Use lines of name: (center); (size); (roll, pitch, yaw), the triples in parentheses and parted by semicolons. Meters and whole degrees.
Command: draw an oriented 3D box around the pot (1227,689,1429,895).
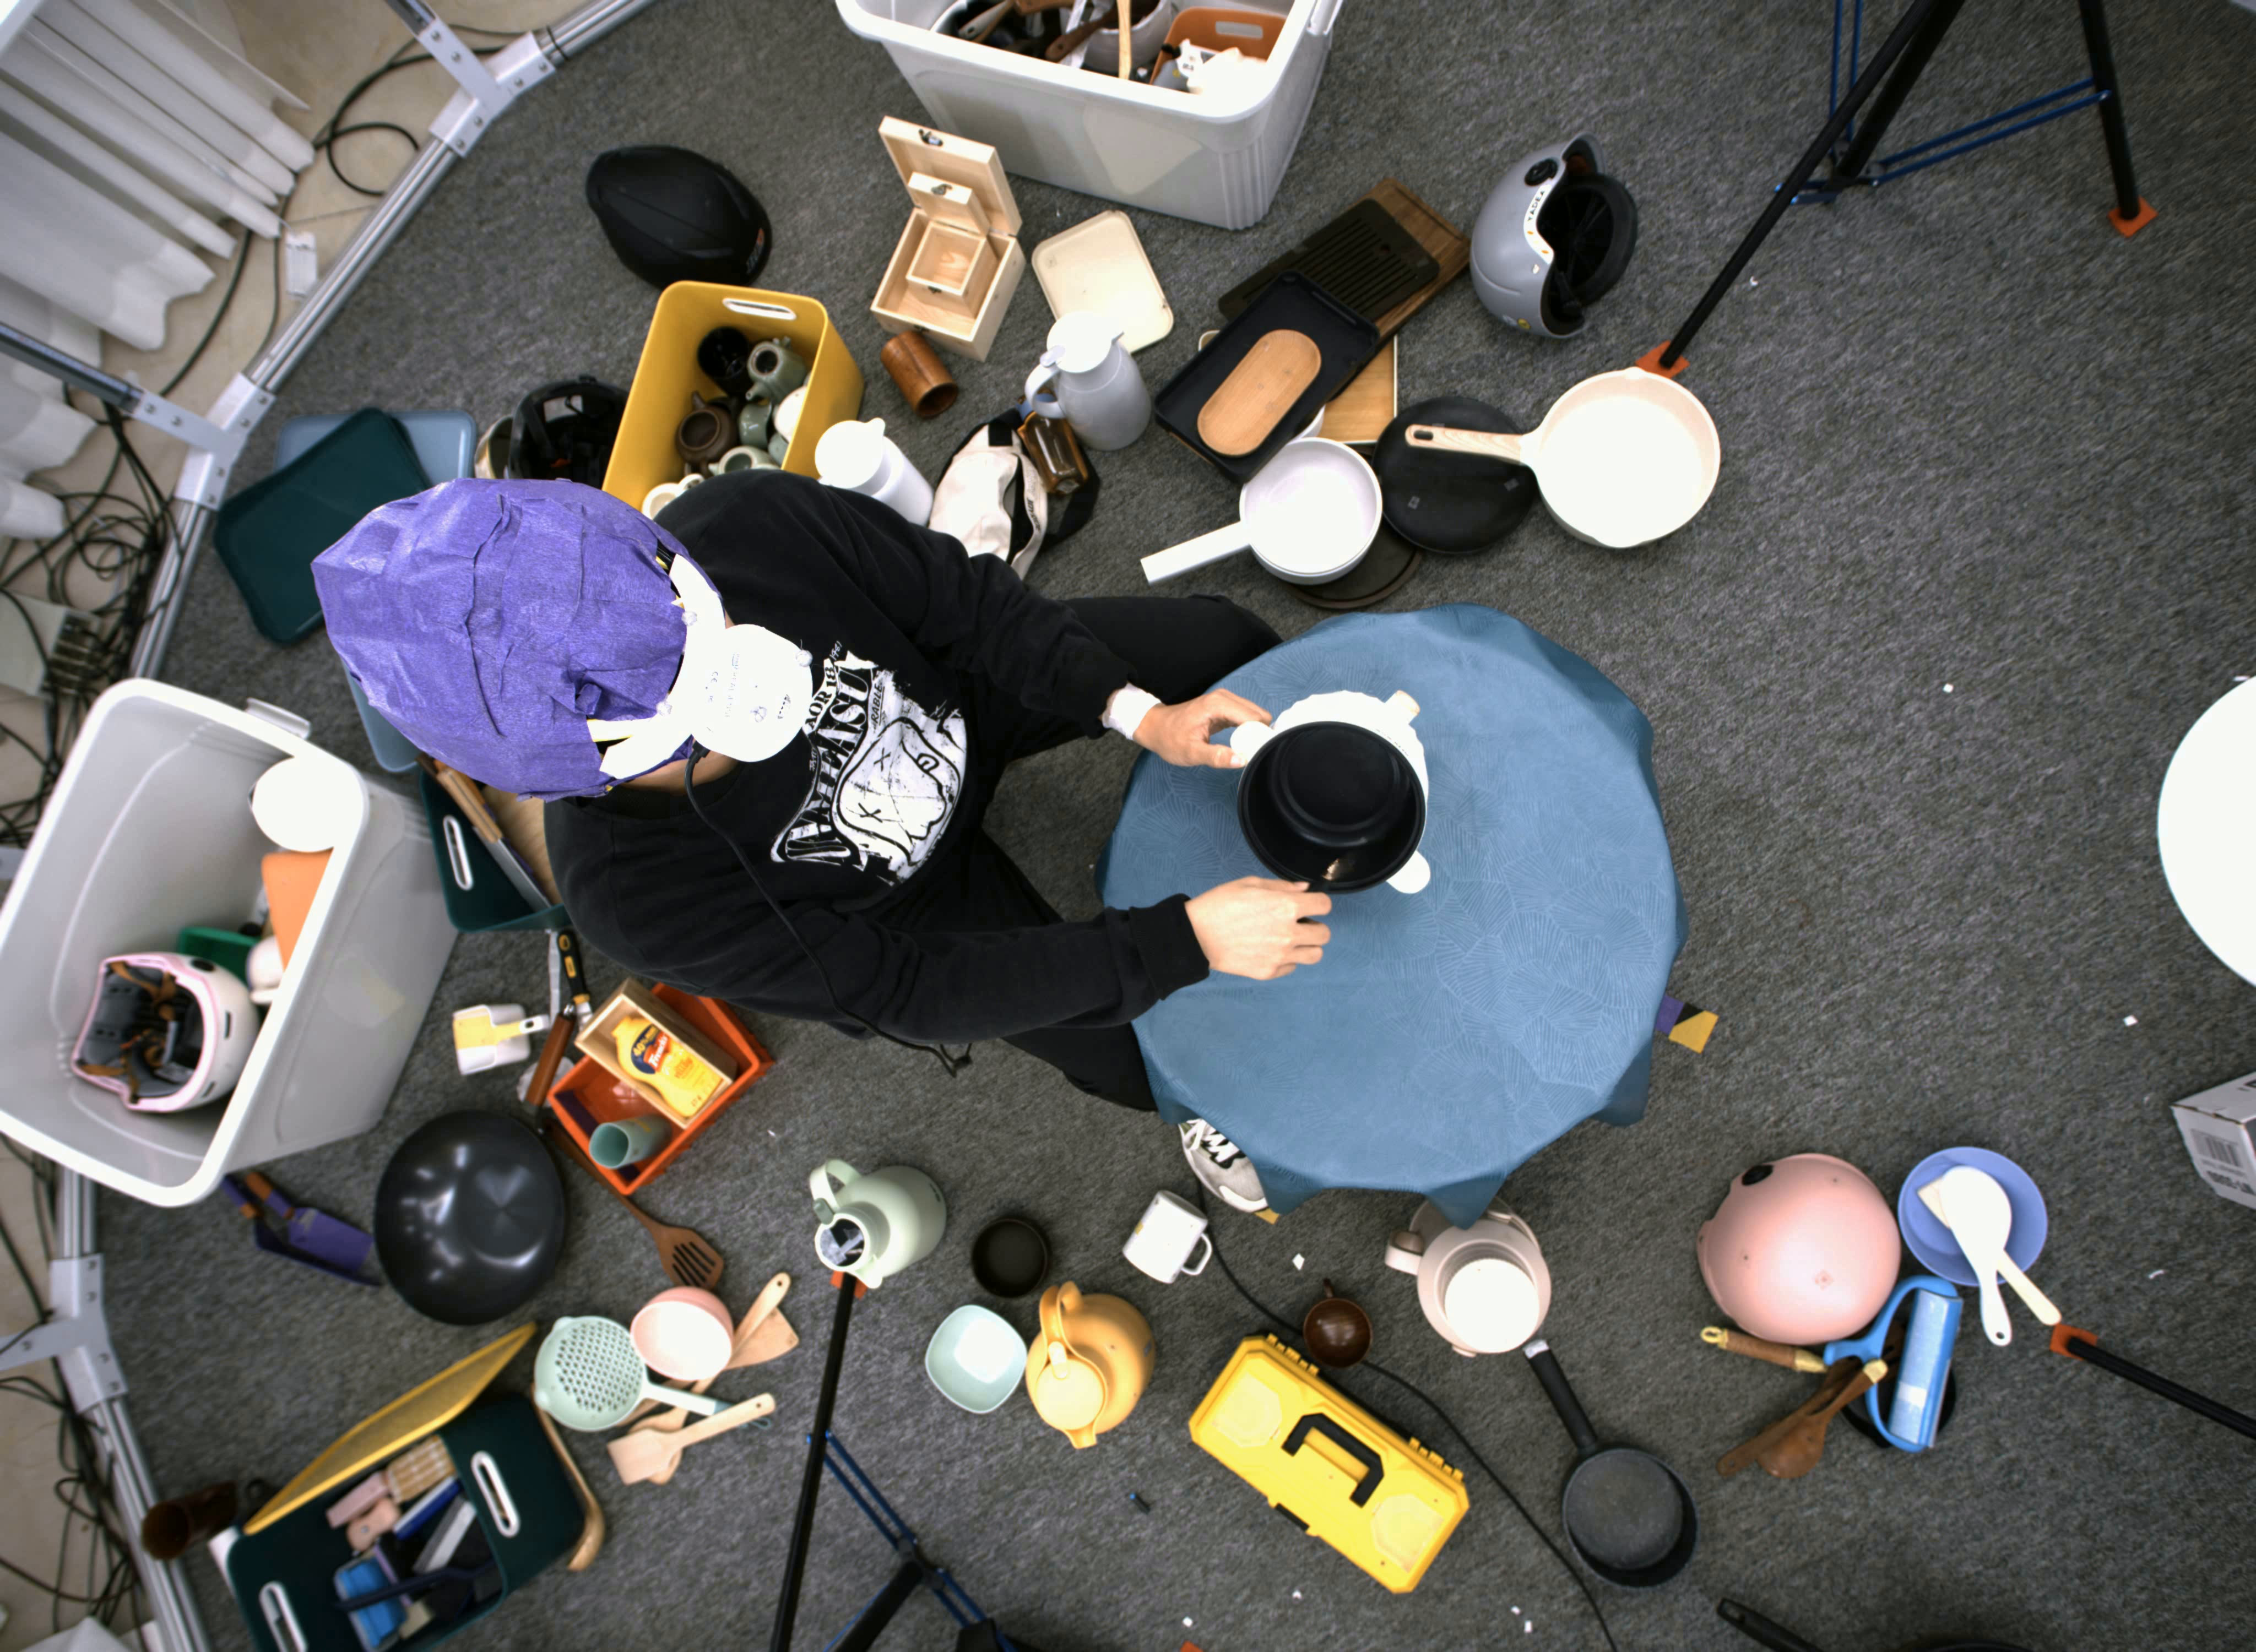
pot: (0.212, -0.047, 1.376); (0.241, 0.139, 0.195); (38, 124, -6)

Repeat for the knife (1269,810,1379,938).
knife: (0.191, 0.042, 1.312); (0.017, 0.220, 0.027); (10, 124, 34)
